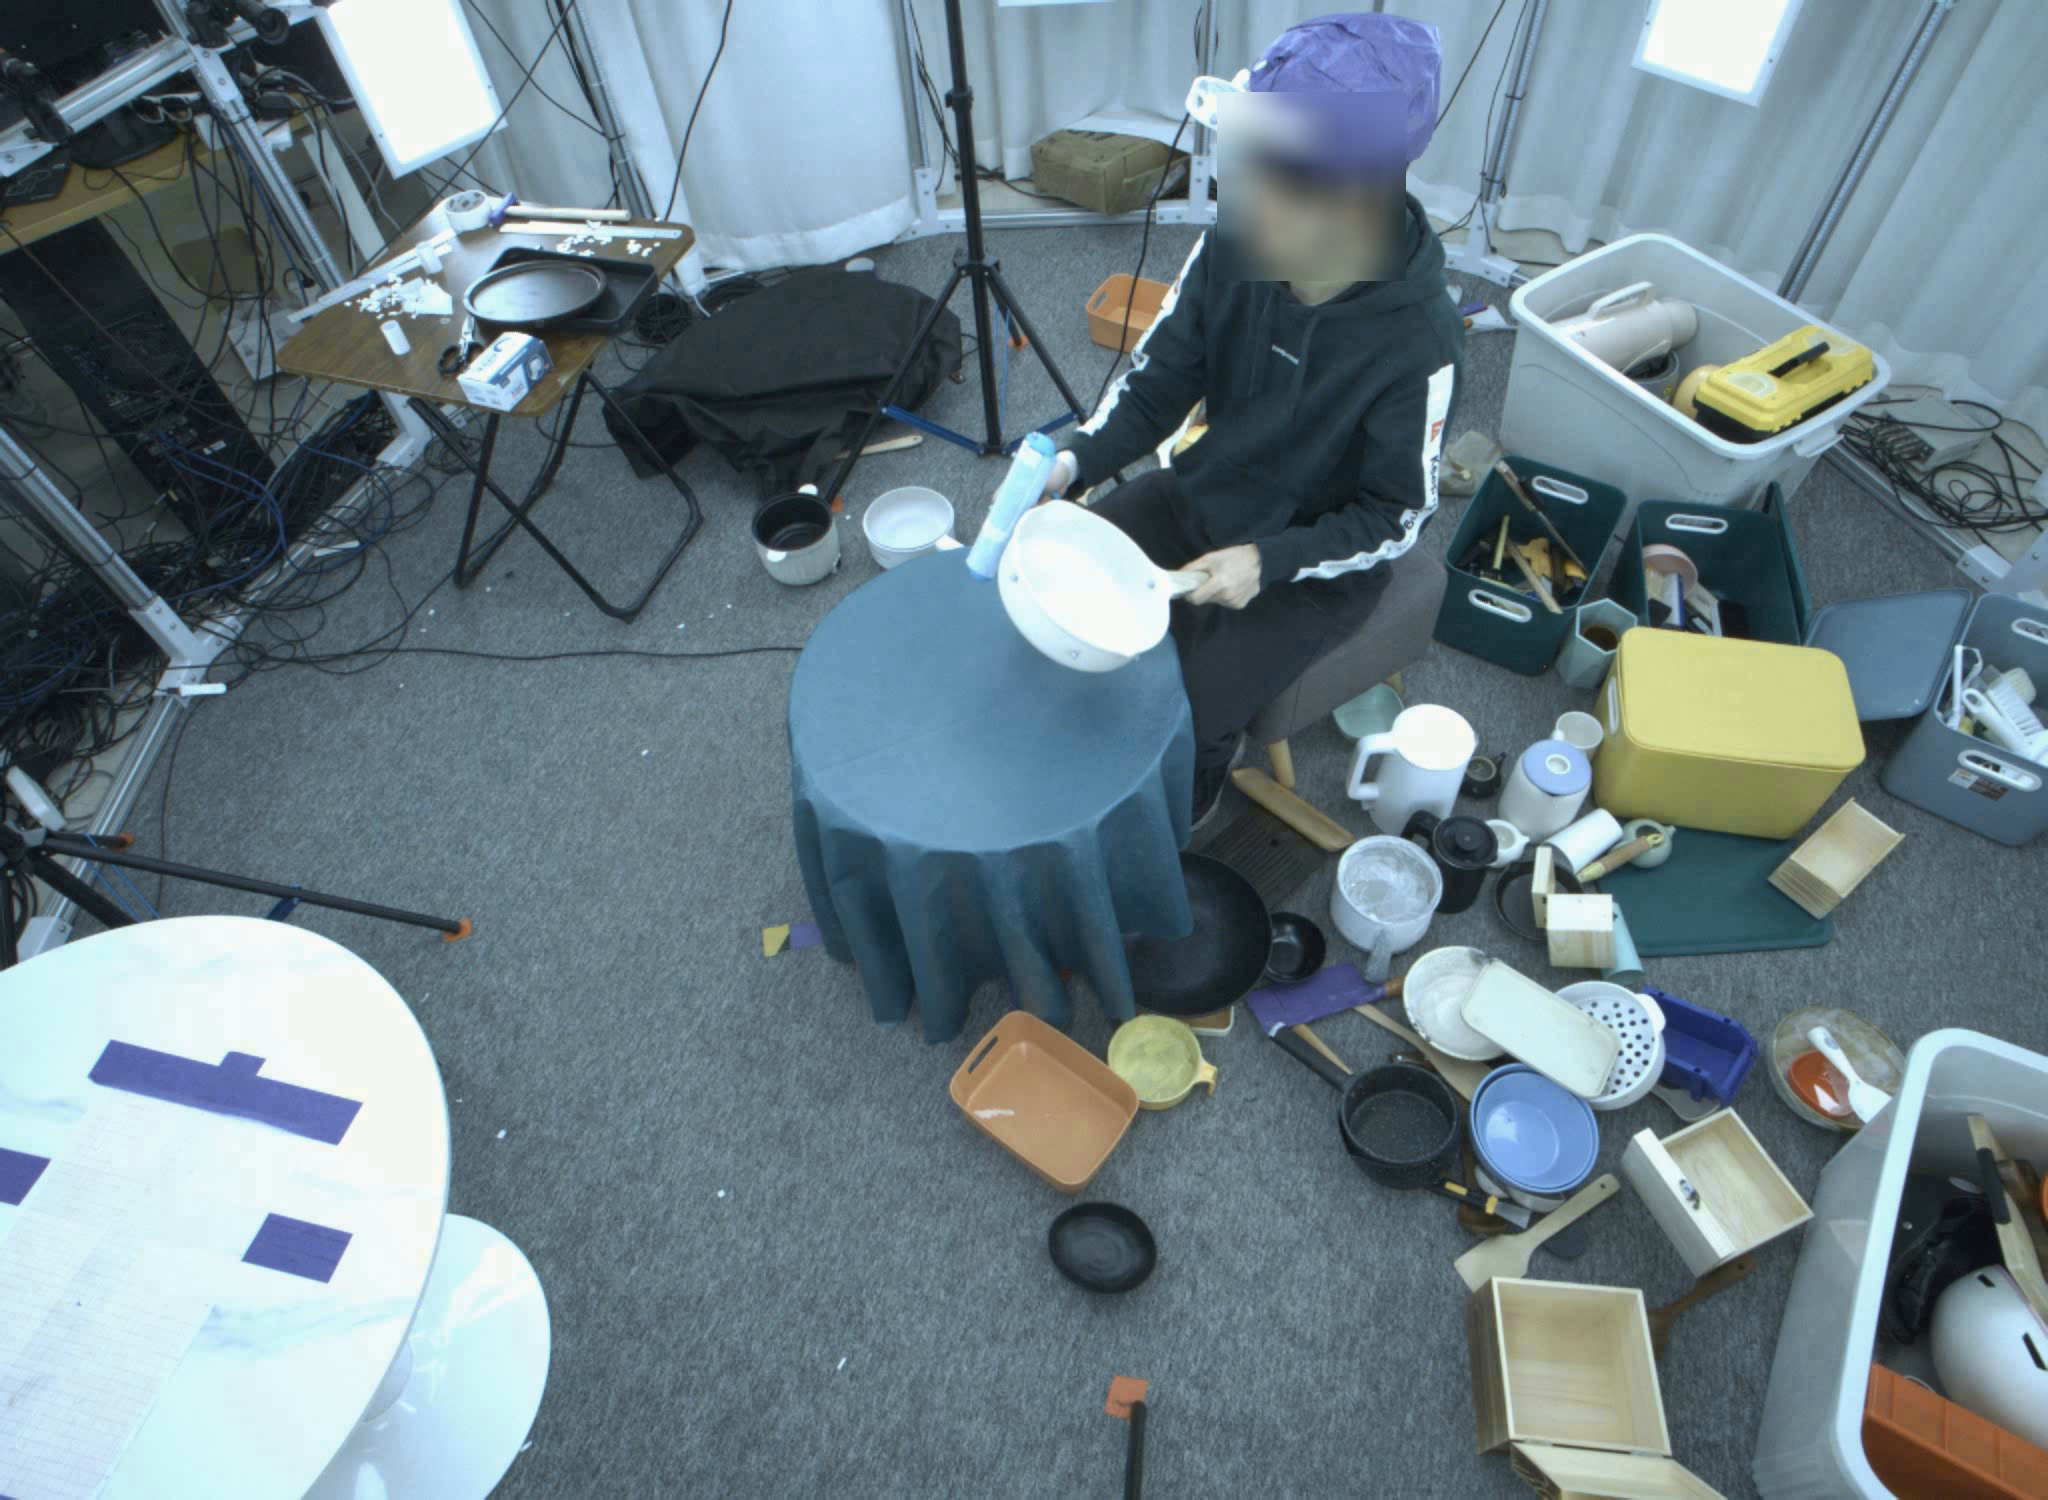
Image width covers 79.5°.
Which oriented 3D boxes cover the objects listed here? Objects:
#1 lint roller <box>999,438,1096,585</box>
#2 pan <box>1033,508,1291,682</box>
[{"bbox_3d":[0.047,-0.345,1.738,0.068,0.228,0.181,32,26,5],"label":"lint roller"},{"bbox_3d":[0.199,-0.209,1.731,0.444,0.101,0.260,-3,62,-38],"label":"pan"}]
